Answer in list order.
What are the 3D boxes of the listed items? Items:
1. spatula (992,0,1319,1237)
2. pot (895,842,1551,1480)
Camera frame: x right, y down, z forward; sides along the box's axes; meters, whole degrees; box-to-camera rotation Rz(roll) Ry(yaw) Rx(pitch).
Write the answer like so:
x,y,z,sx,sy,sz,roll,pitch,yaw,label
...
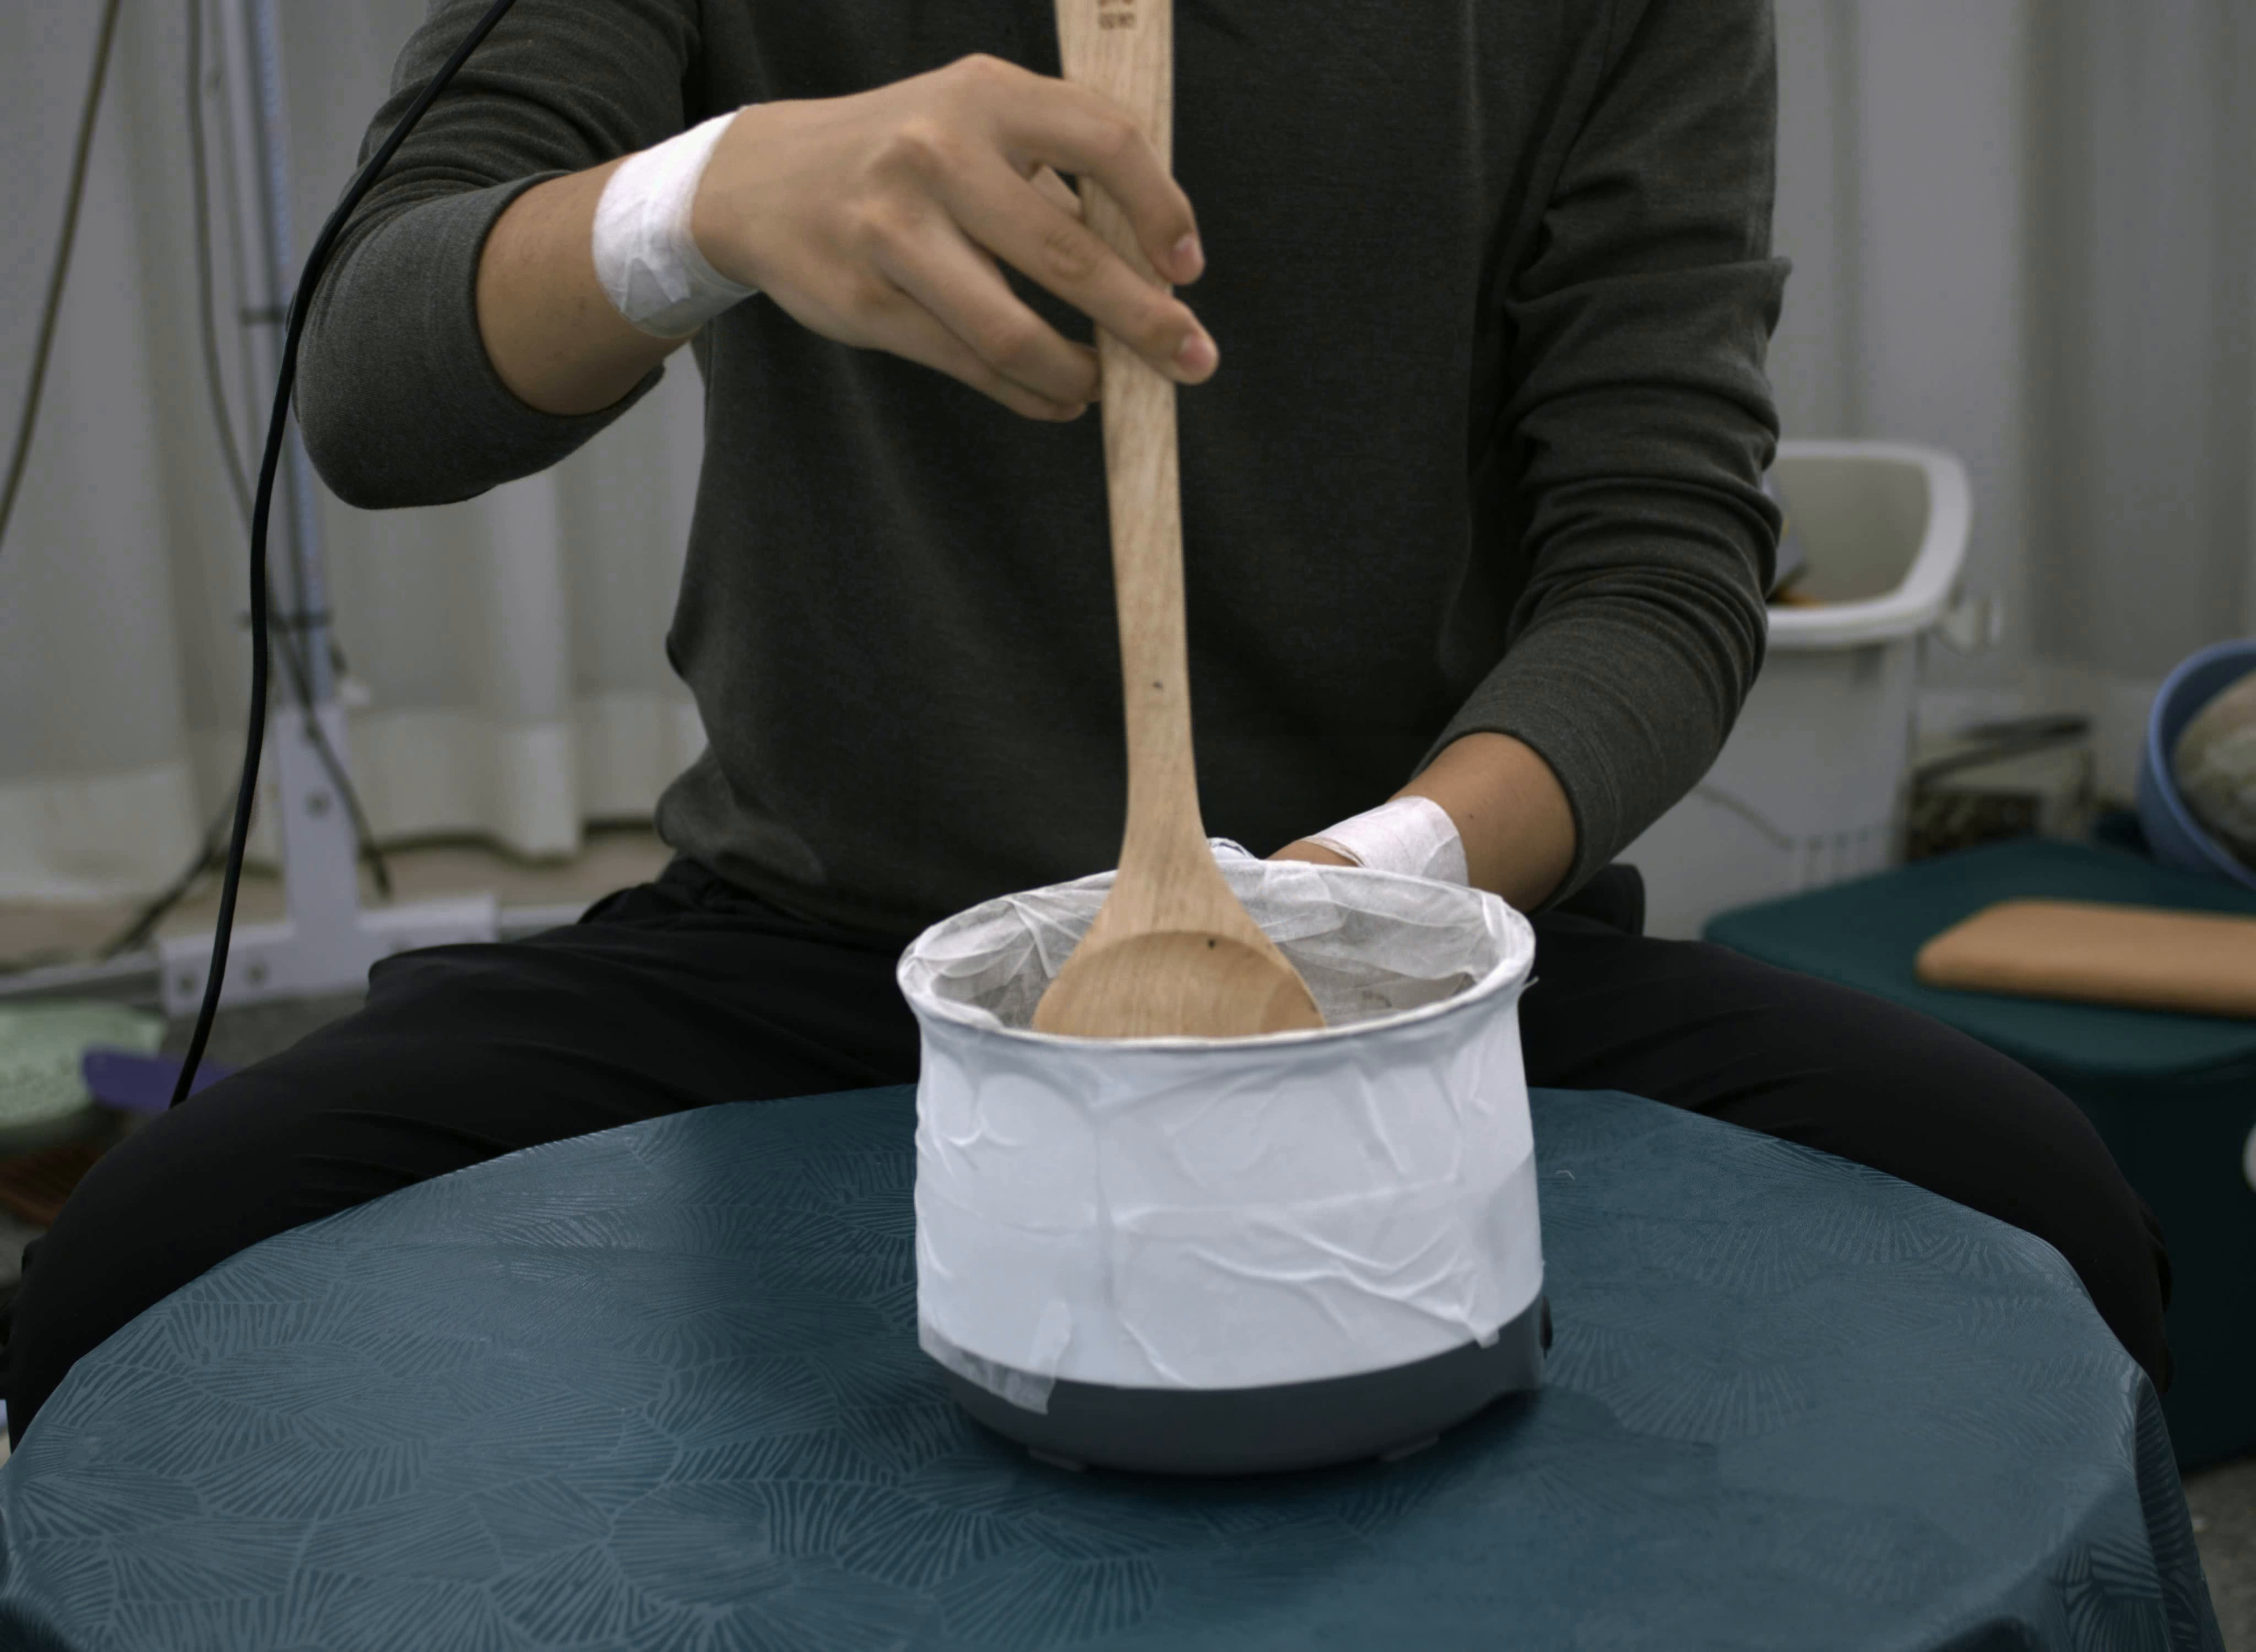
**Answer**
x,y,z,sx,sy,sz,roll,pitch,yaw,label
0.002,-0.073,1.481,0.095,0.391,0.018,-3,2,-3,spatula
0.028,0.089,1.549,0.178,0.136,0.235,-2,14,2,pot
